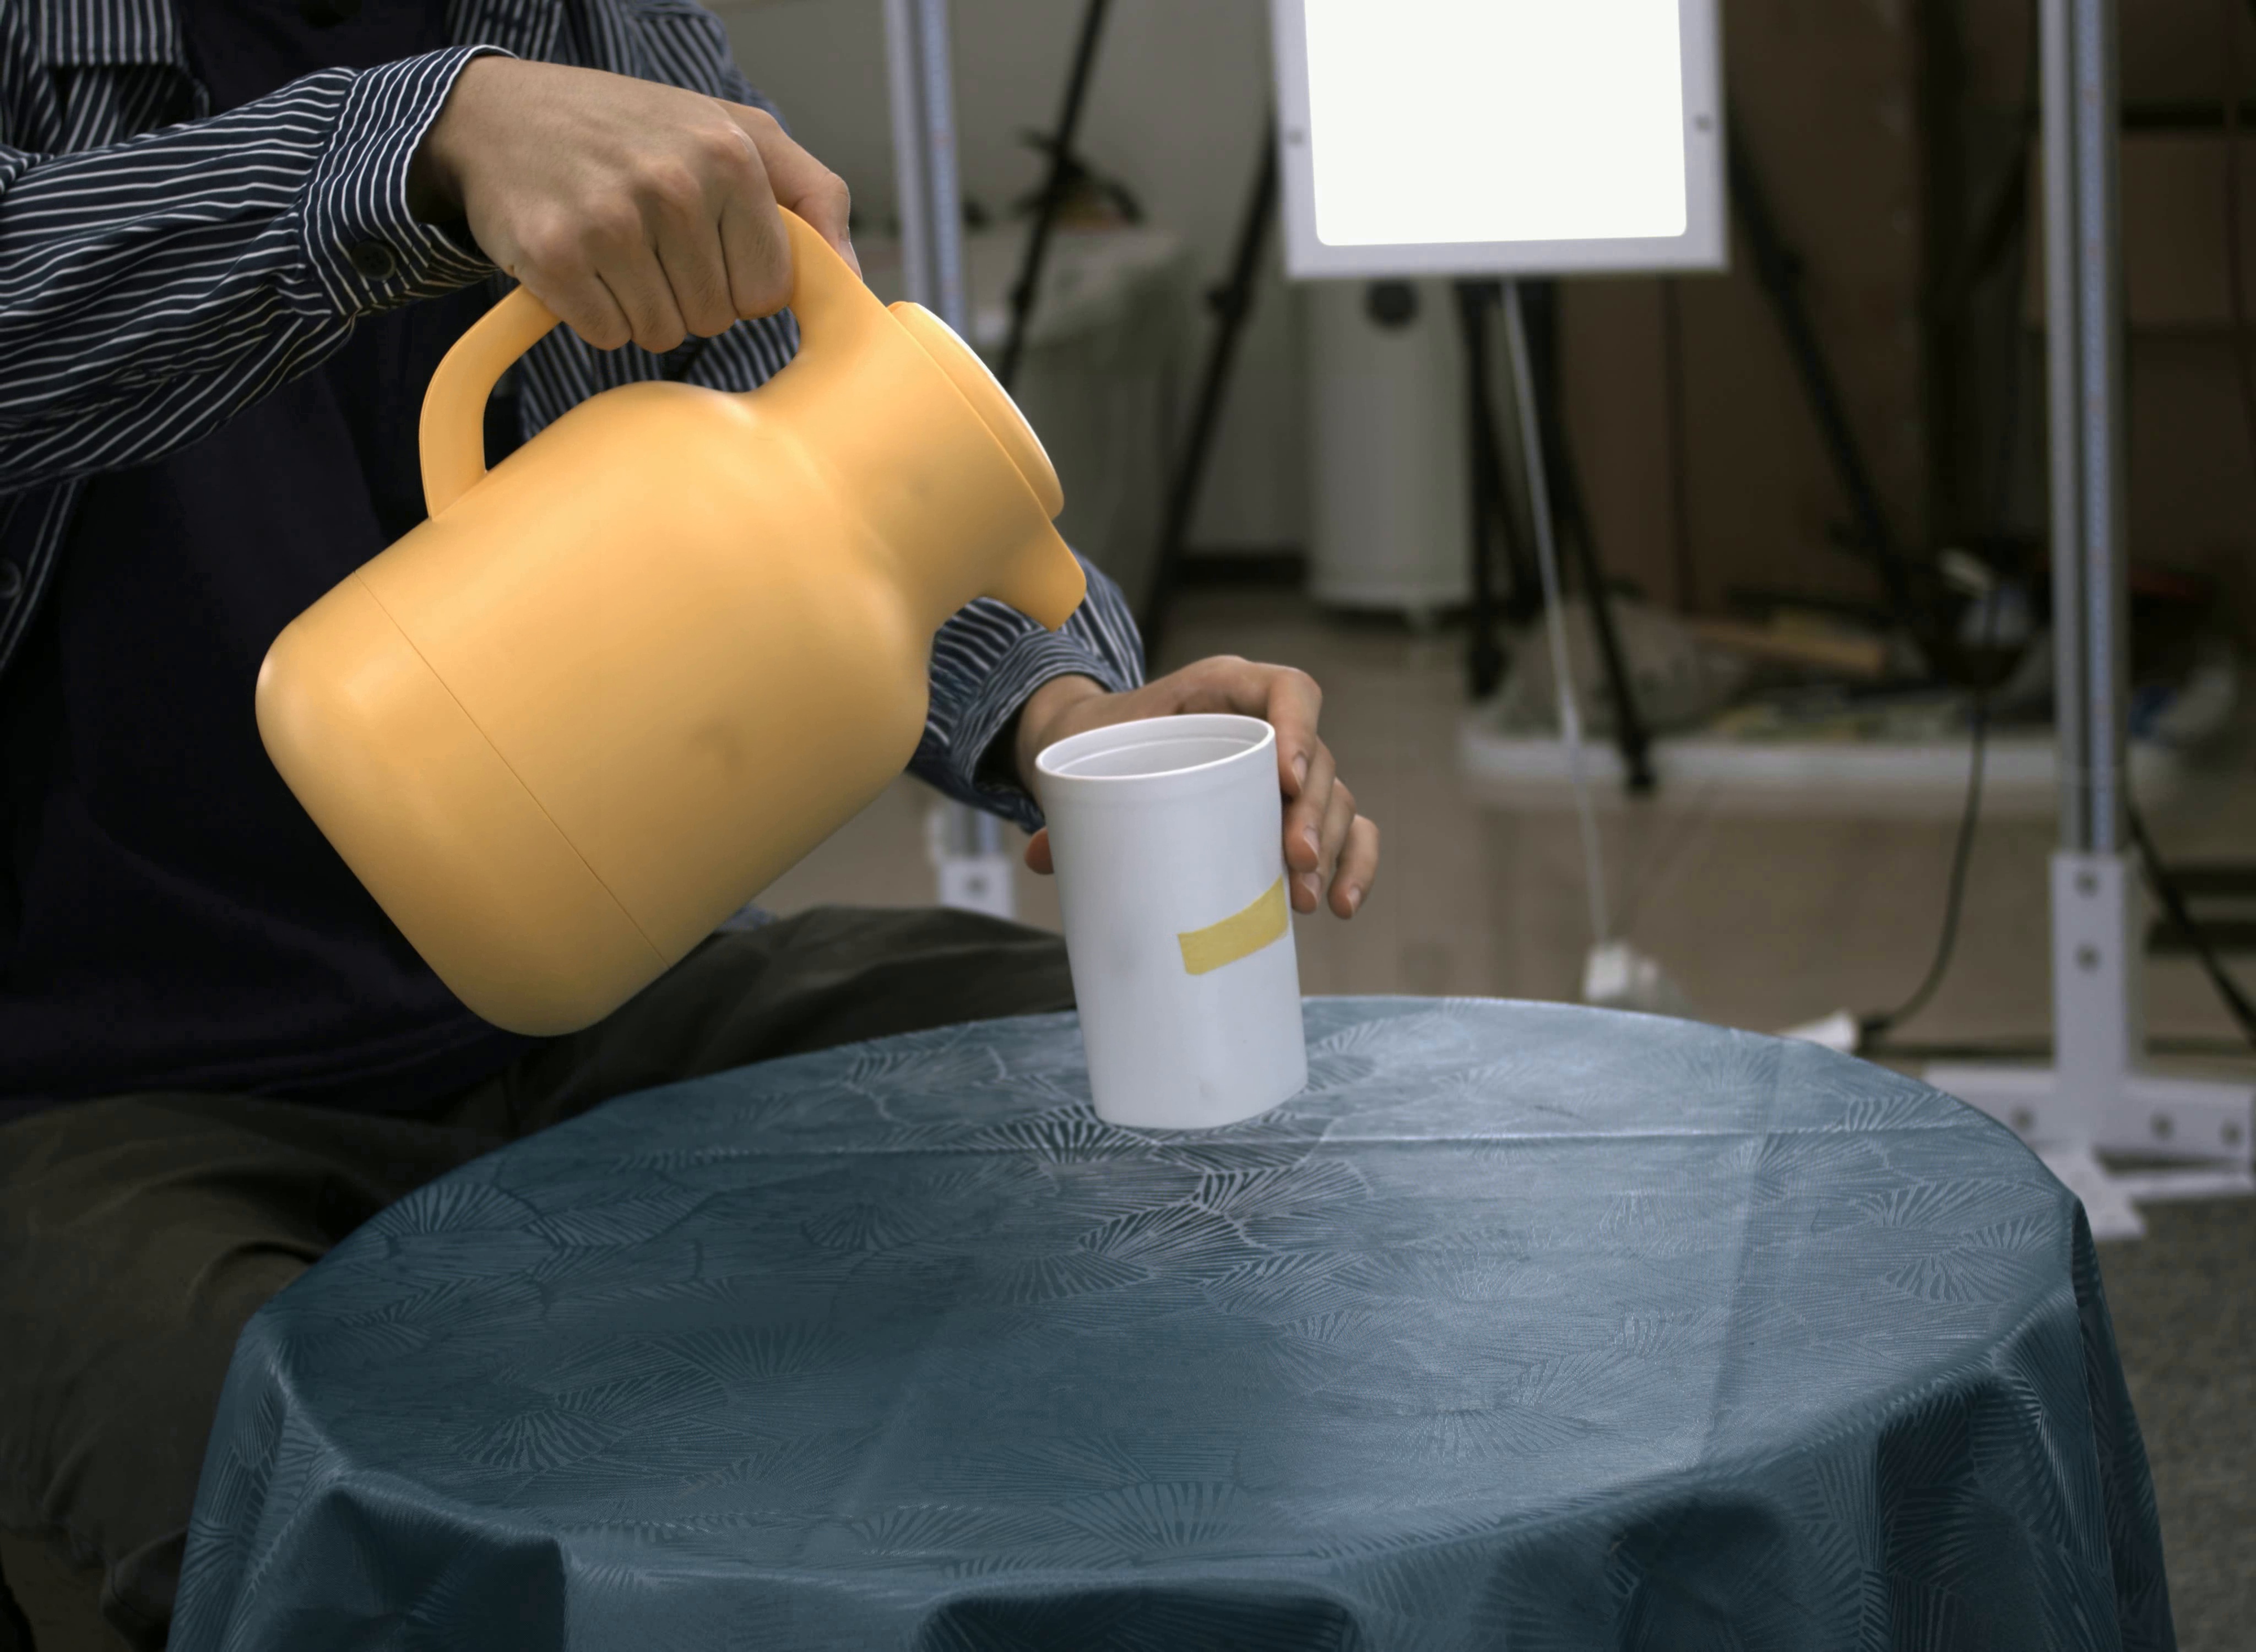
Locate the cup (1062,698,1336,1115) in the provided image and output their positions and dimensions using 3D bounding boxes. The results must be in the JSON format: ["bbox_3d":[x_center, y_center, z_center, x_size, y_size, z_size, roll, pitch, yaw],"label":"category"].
[{"bbox_3d":[0.027,0.027,1.840,0.081,0.126,0.081,-9,13,1],"label":"cup"}]

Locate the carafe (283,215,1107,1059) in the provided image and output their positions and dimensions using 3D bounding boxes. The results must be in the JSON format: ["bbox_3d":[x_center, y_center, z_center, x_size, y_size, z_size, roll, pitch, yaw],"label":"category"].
[{"bbox_3d":[-0.148,-0.070,1.789,0.259,0.202,0.164,-38,10,-3],"label":"carafe"}]
